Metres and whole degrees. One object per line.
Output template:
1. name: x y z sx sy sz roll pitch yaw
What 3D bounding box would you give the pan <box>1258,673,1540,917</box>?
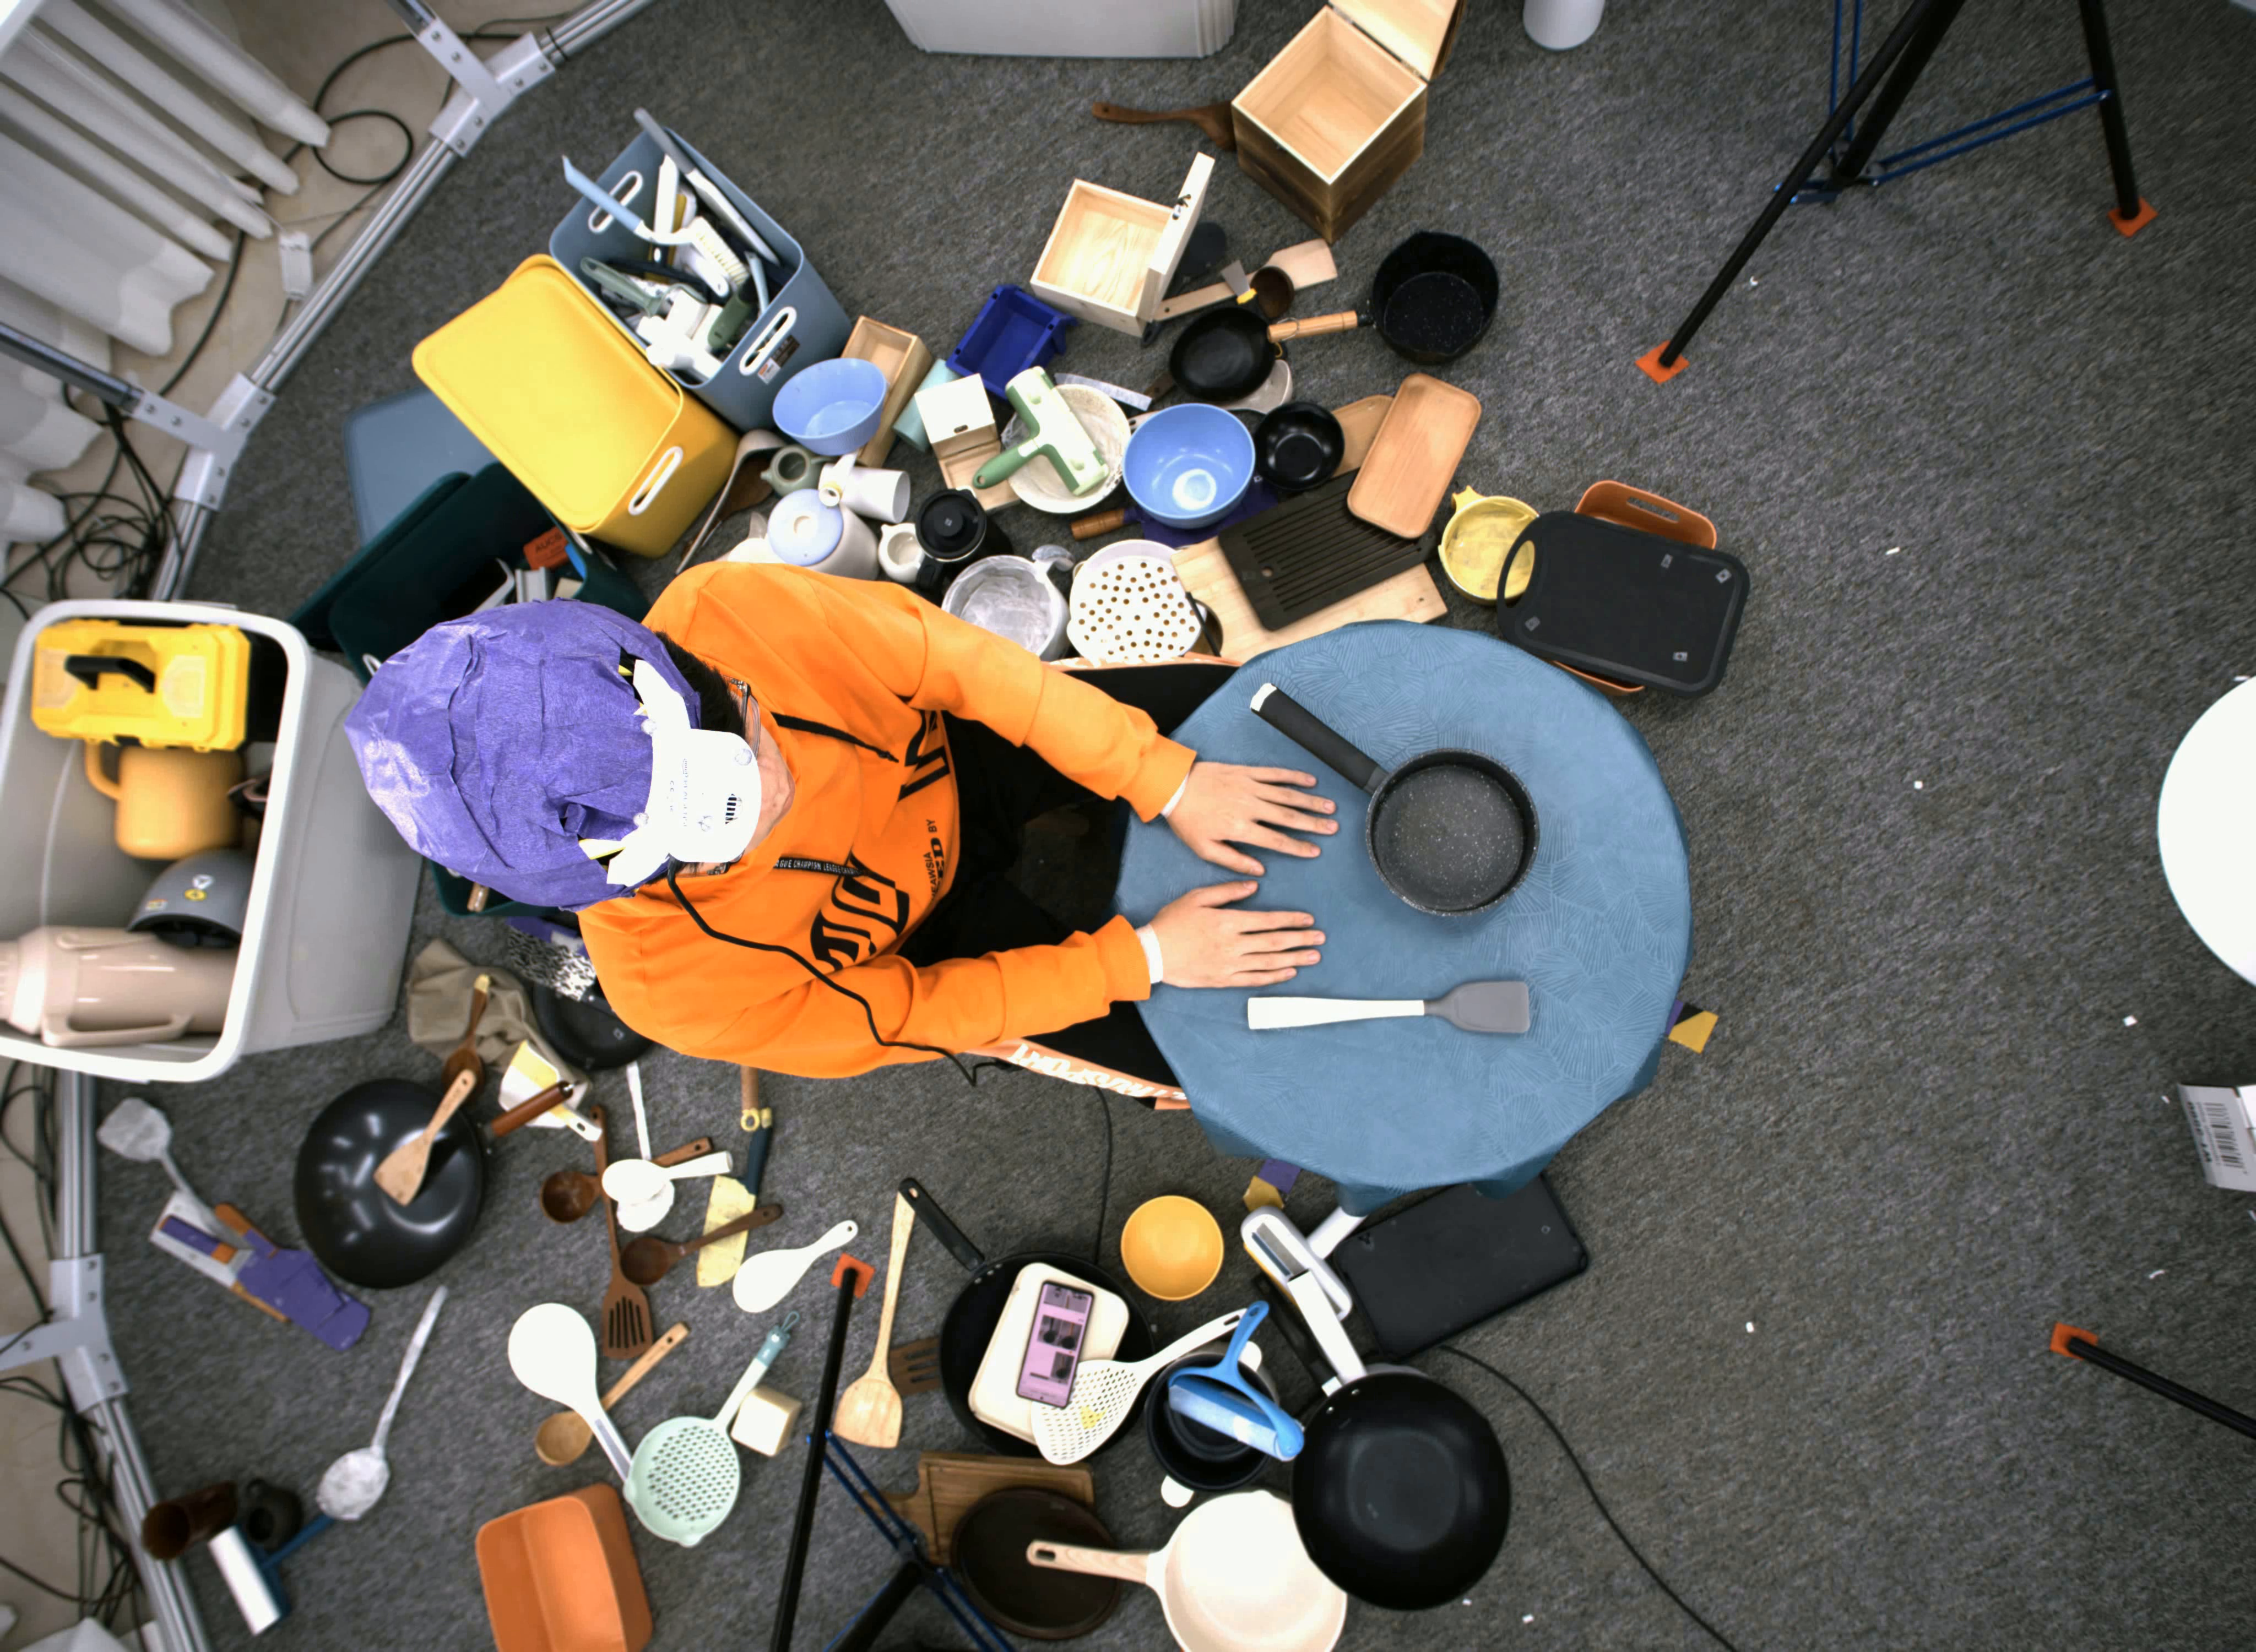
1. pan: 0.269 -0.041 1.423 0.328 0.086 0.172 39 93 9

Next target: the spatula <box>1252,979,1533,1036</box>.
1. spatula: 0.273 0.190 1.437 0.289 0.032 0.058 -3 81 11
